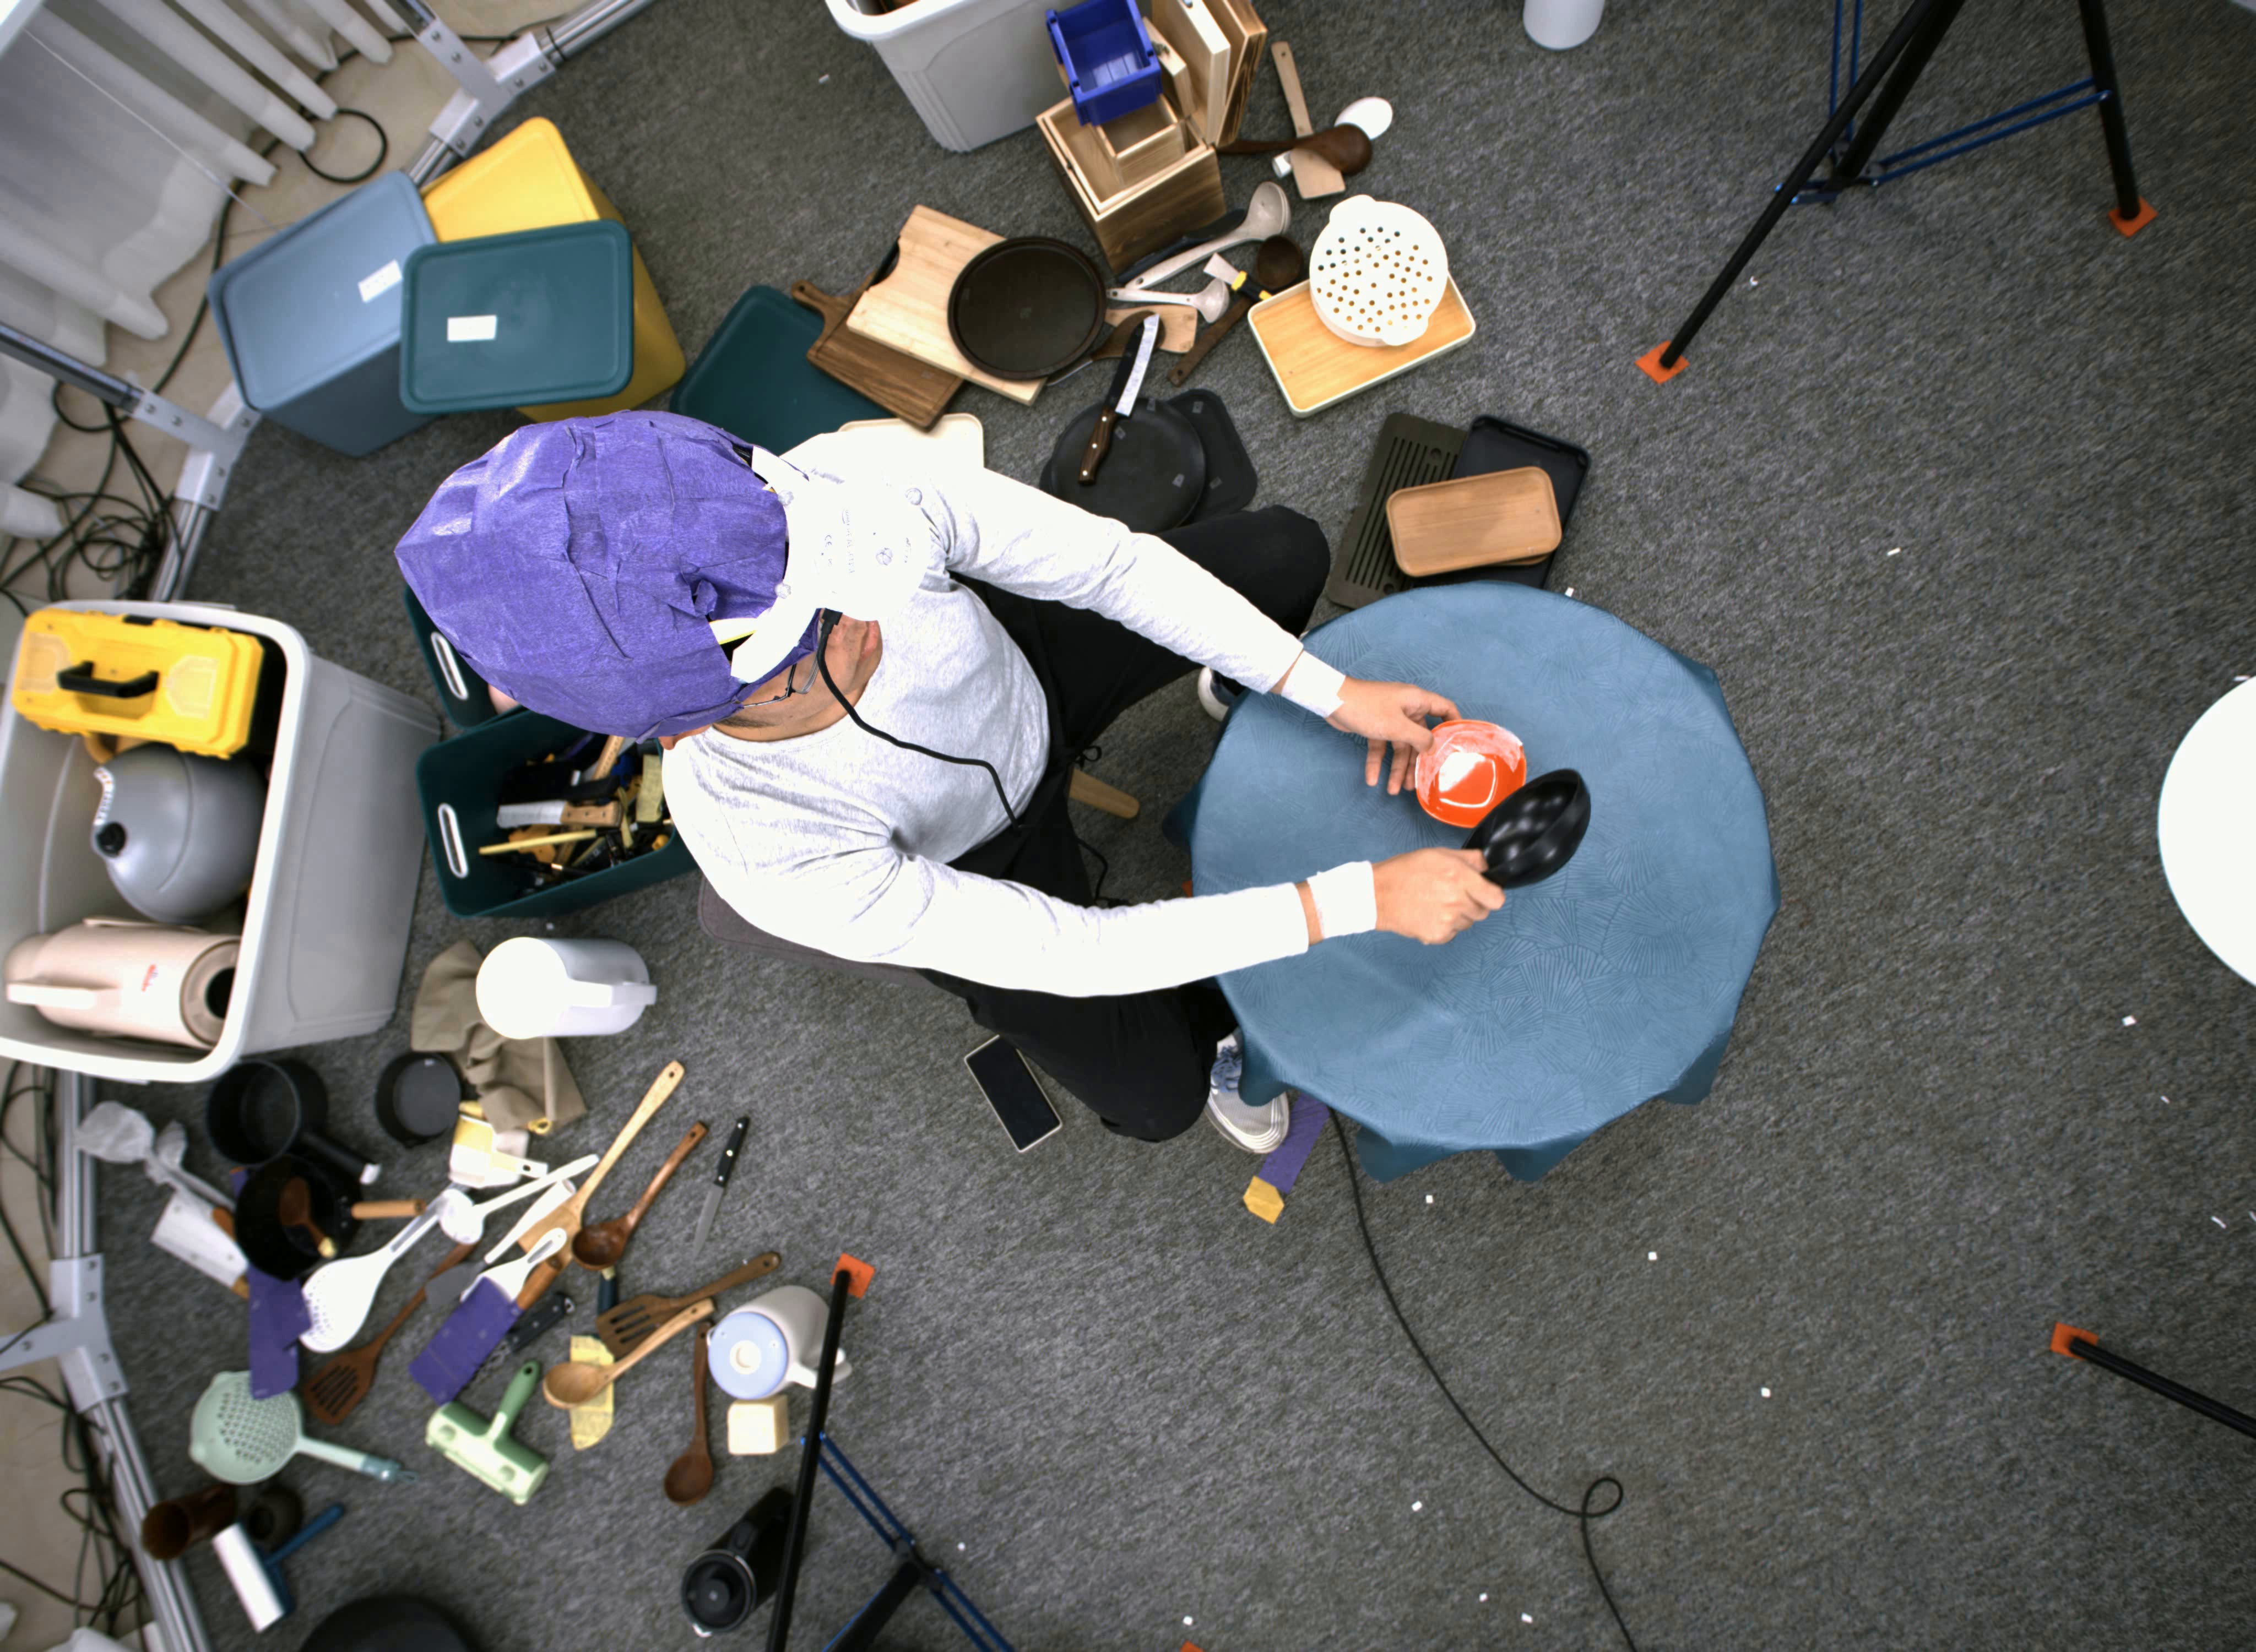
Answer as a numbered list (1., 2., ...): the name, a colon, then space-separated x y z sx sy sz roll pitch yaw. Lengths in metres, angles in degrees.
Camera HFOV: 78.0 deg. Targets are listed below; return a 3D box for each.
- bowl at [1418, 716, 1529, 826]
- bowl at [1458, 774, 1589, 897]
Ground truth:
1. bowl: 0.352 -0.057 1.414 0.119 0.051 0.119 0 91 7
2. bowl: 0.371 0.016 1.256 0.050 0.139 0.140 43 93 -9
